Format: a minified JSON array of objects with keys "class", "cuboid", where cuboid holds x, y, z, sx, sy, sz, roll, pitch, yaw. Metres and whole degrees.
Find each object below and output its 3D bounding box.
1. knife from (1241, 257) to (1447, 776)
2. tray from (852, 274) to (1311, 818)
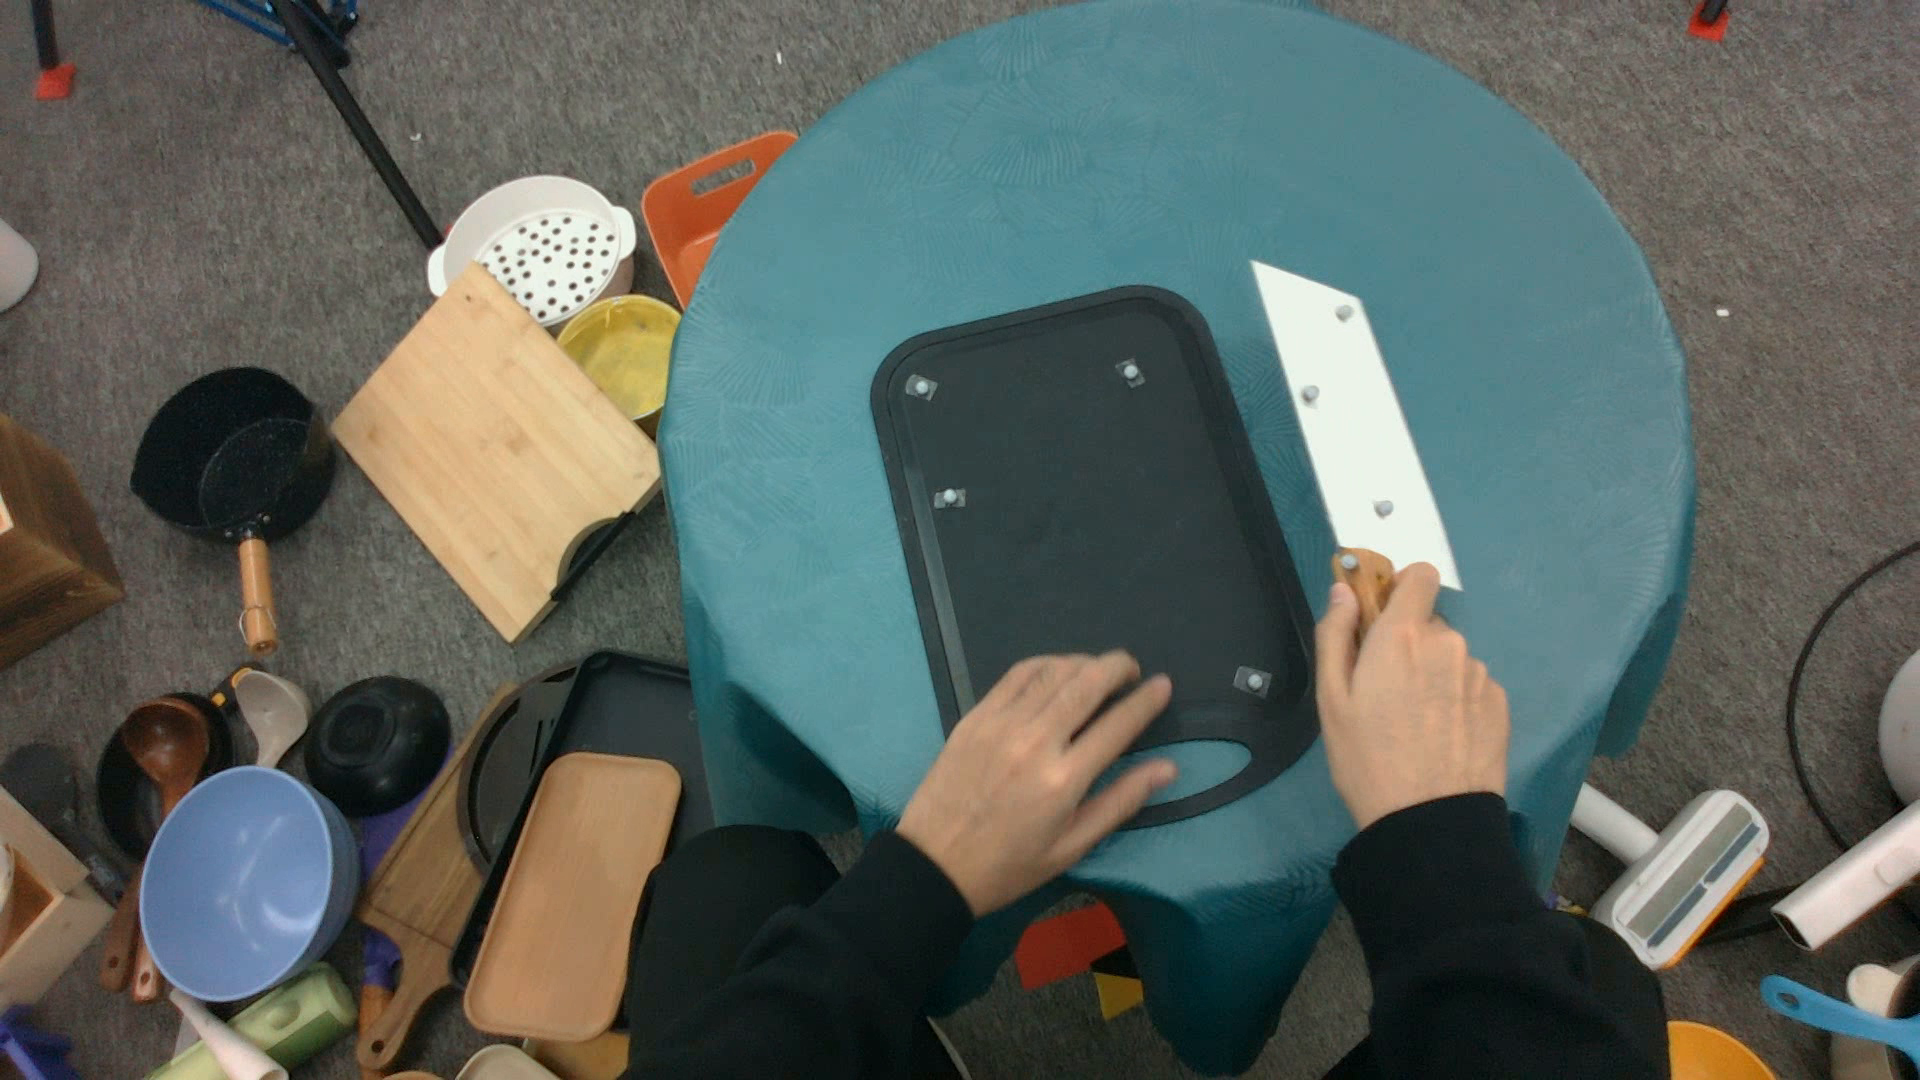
[{"class":"knife","cuboid":[0.213,-0.022,0.724,0.093,0.021,0.307,11,57,-33]},{"class":"tray","cuboid":[0.064,-0.007,0.774,0.211,0.010,0.326,-13,65,-2]}]
